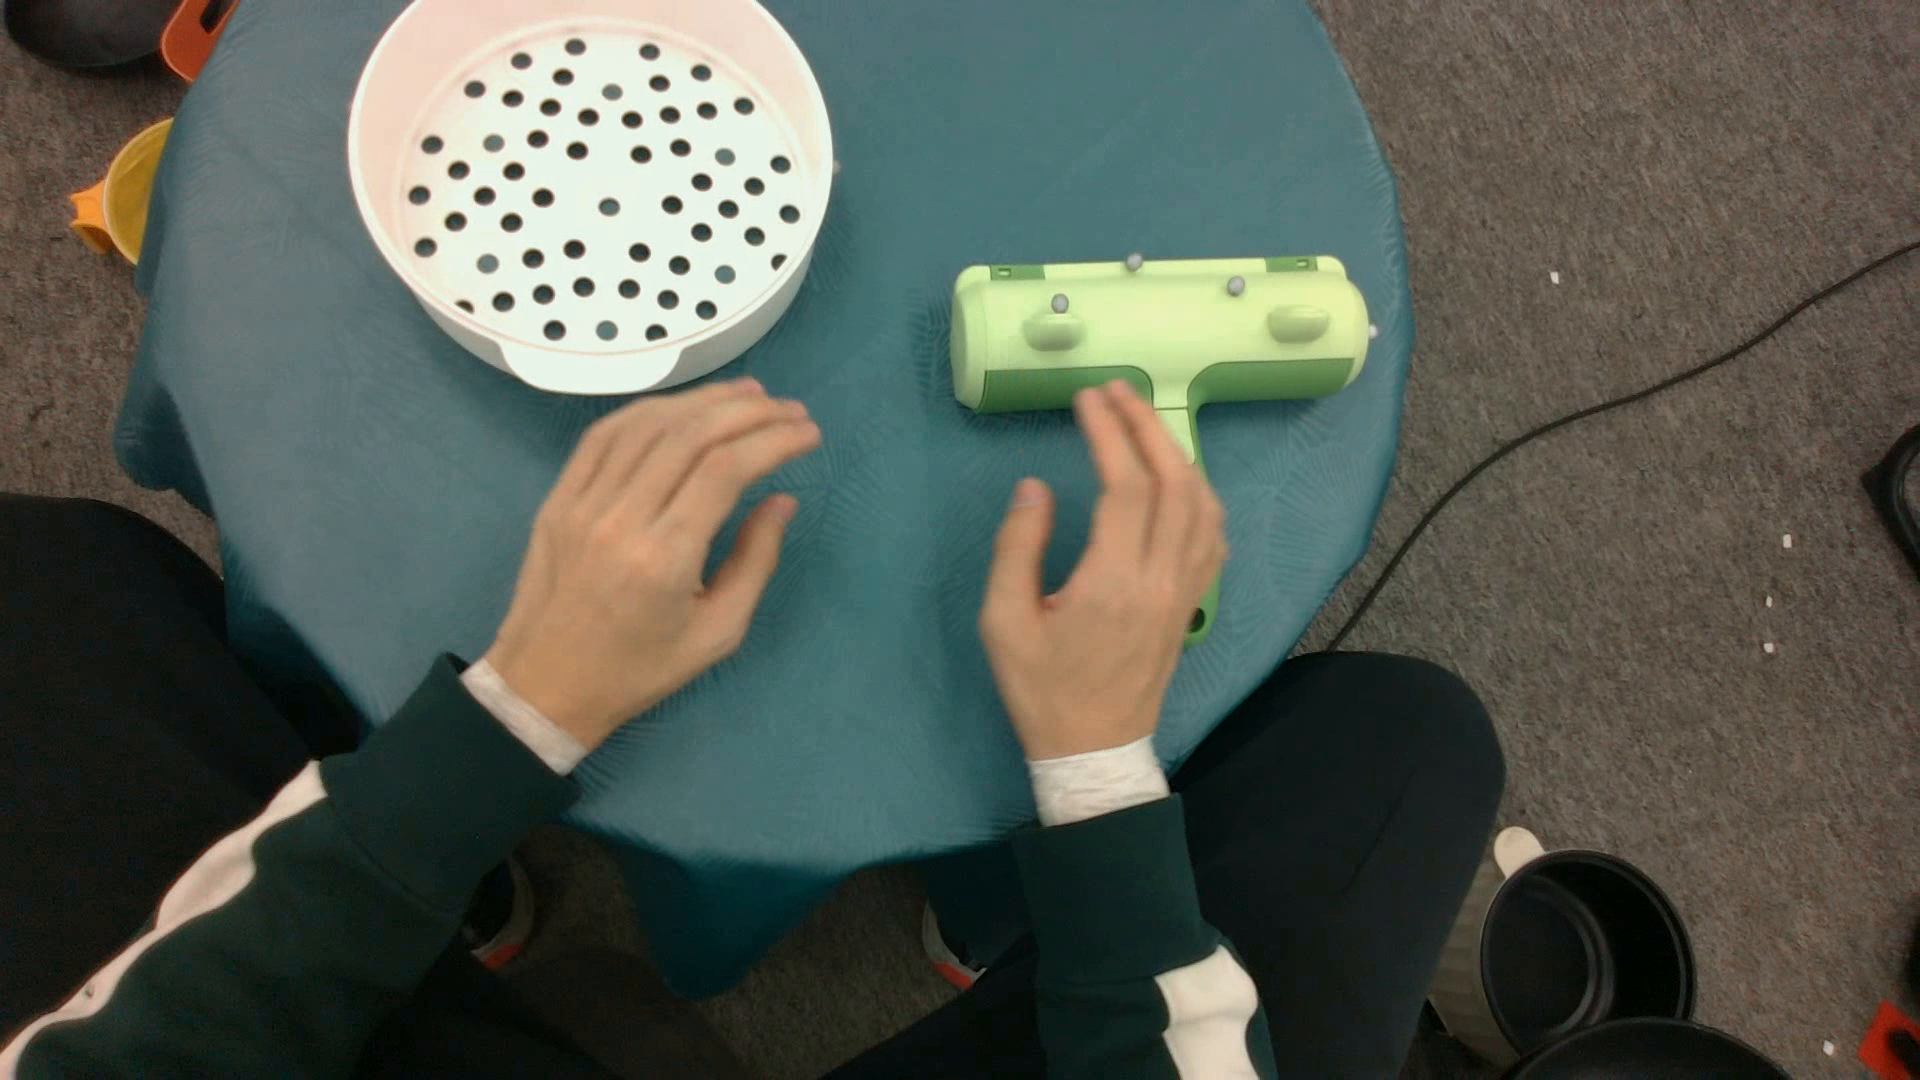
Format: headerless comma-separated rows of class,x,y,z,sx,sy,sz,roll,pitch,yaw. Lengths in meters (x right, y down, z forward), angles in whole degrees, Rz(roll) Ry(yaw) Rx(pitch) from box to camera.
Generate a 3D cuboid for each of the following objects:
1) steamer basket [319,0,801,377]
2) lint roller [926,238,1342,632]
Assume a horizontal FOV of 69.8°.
steamer basket,-0.175,-0.172,0.622,0.202,0.069,0.231,-2,74,-12
lint roller,0.092,-0.054,0.634,0.199,0.082,0.184,-4,72,-12
